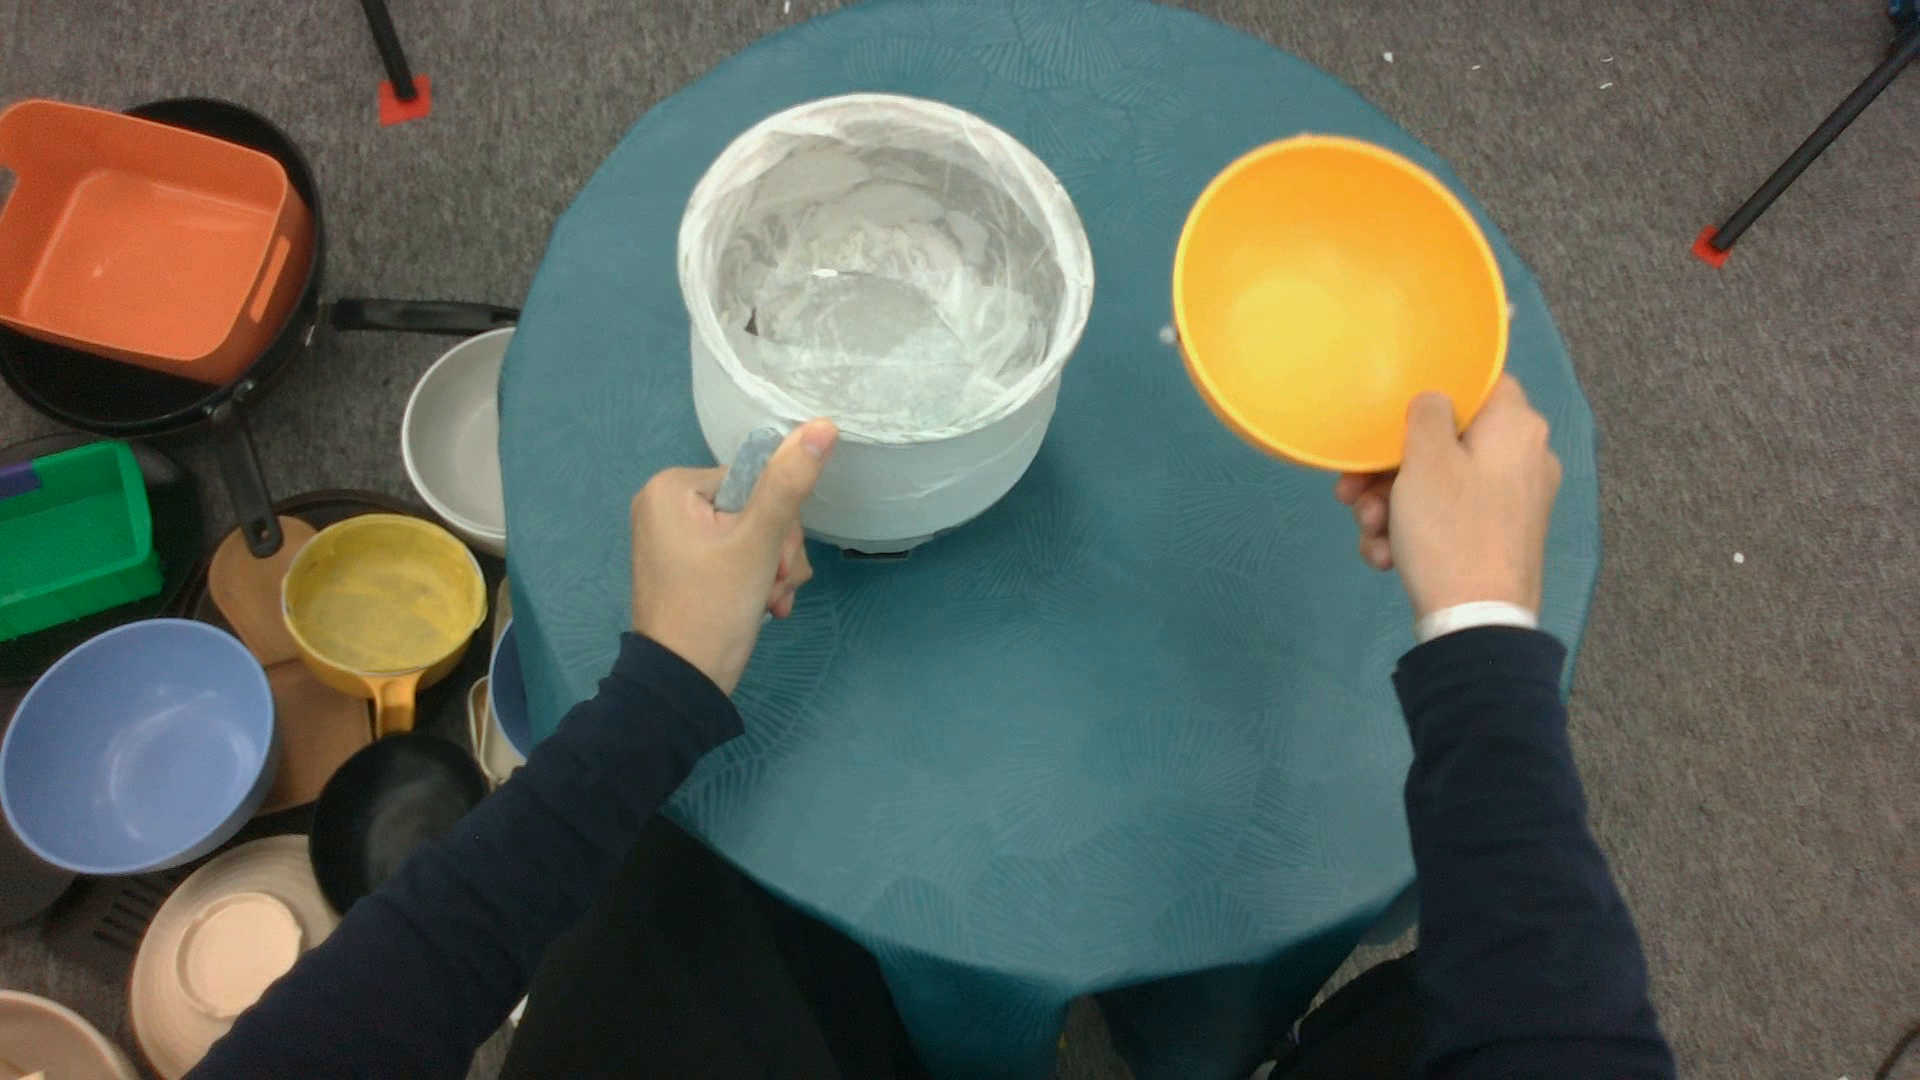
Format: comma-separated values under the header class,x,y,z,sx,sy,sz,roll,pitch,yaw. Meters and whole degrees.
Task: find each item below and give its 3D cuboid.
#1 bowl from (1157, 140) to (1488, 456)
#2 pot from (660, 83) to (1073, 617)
class,x,y,z,sx,sy,sz,roll,pitch,yaw
bowl,0.148,-0.096,0.600,0.145,0.060,0.145,3,74,-9
pot,-0.056,-0.078,0.633,0.178,0.136,0.234,24,64,6
